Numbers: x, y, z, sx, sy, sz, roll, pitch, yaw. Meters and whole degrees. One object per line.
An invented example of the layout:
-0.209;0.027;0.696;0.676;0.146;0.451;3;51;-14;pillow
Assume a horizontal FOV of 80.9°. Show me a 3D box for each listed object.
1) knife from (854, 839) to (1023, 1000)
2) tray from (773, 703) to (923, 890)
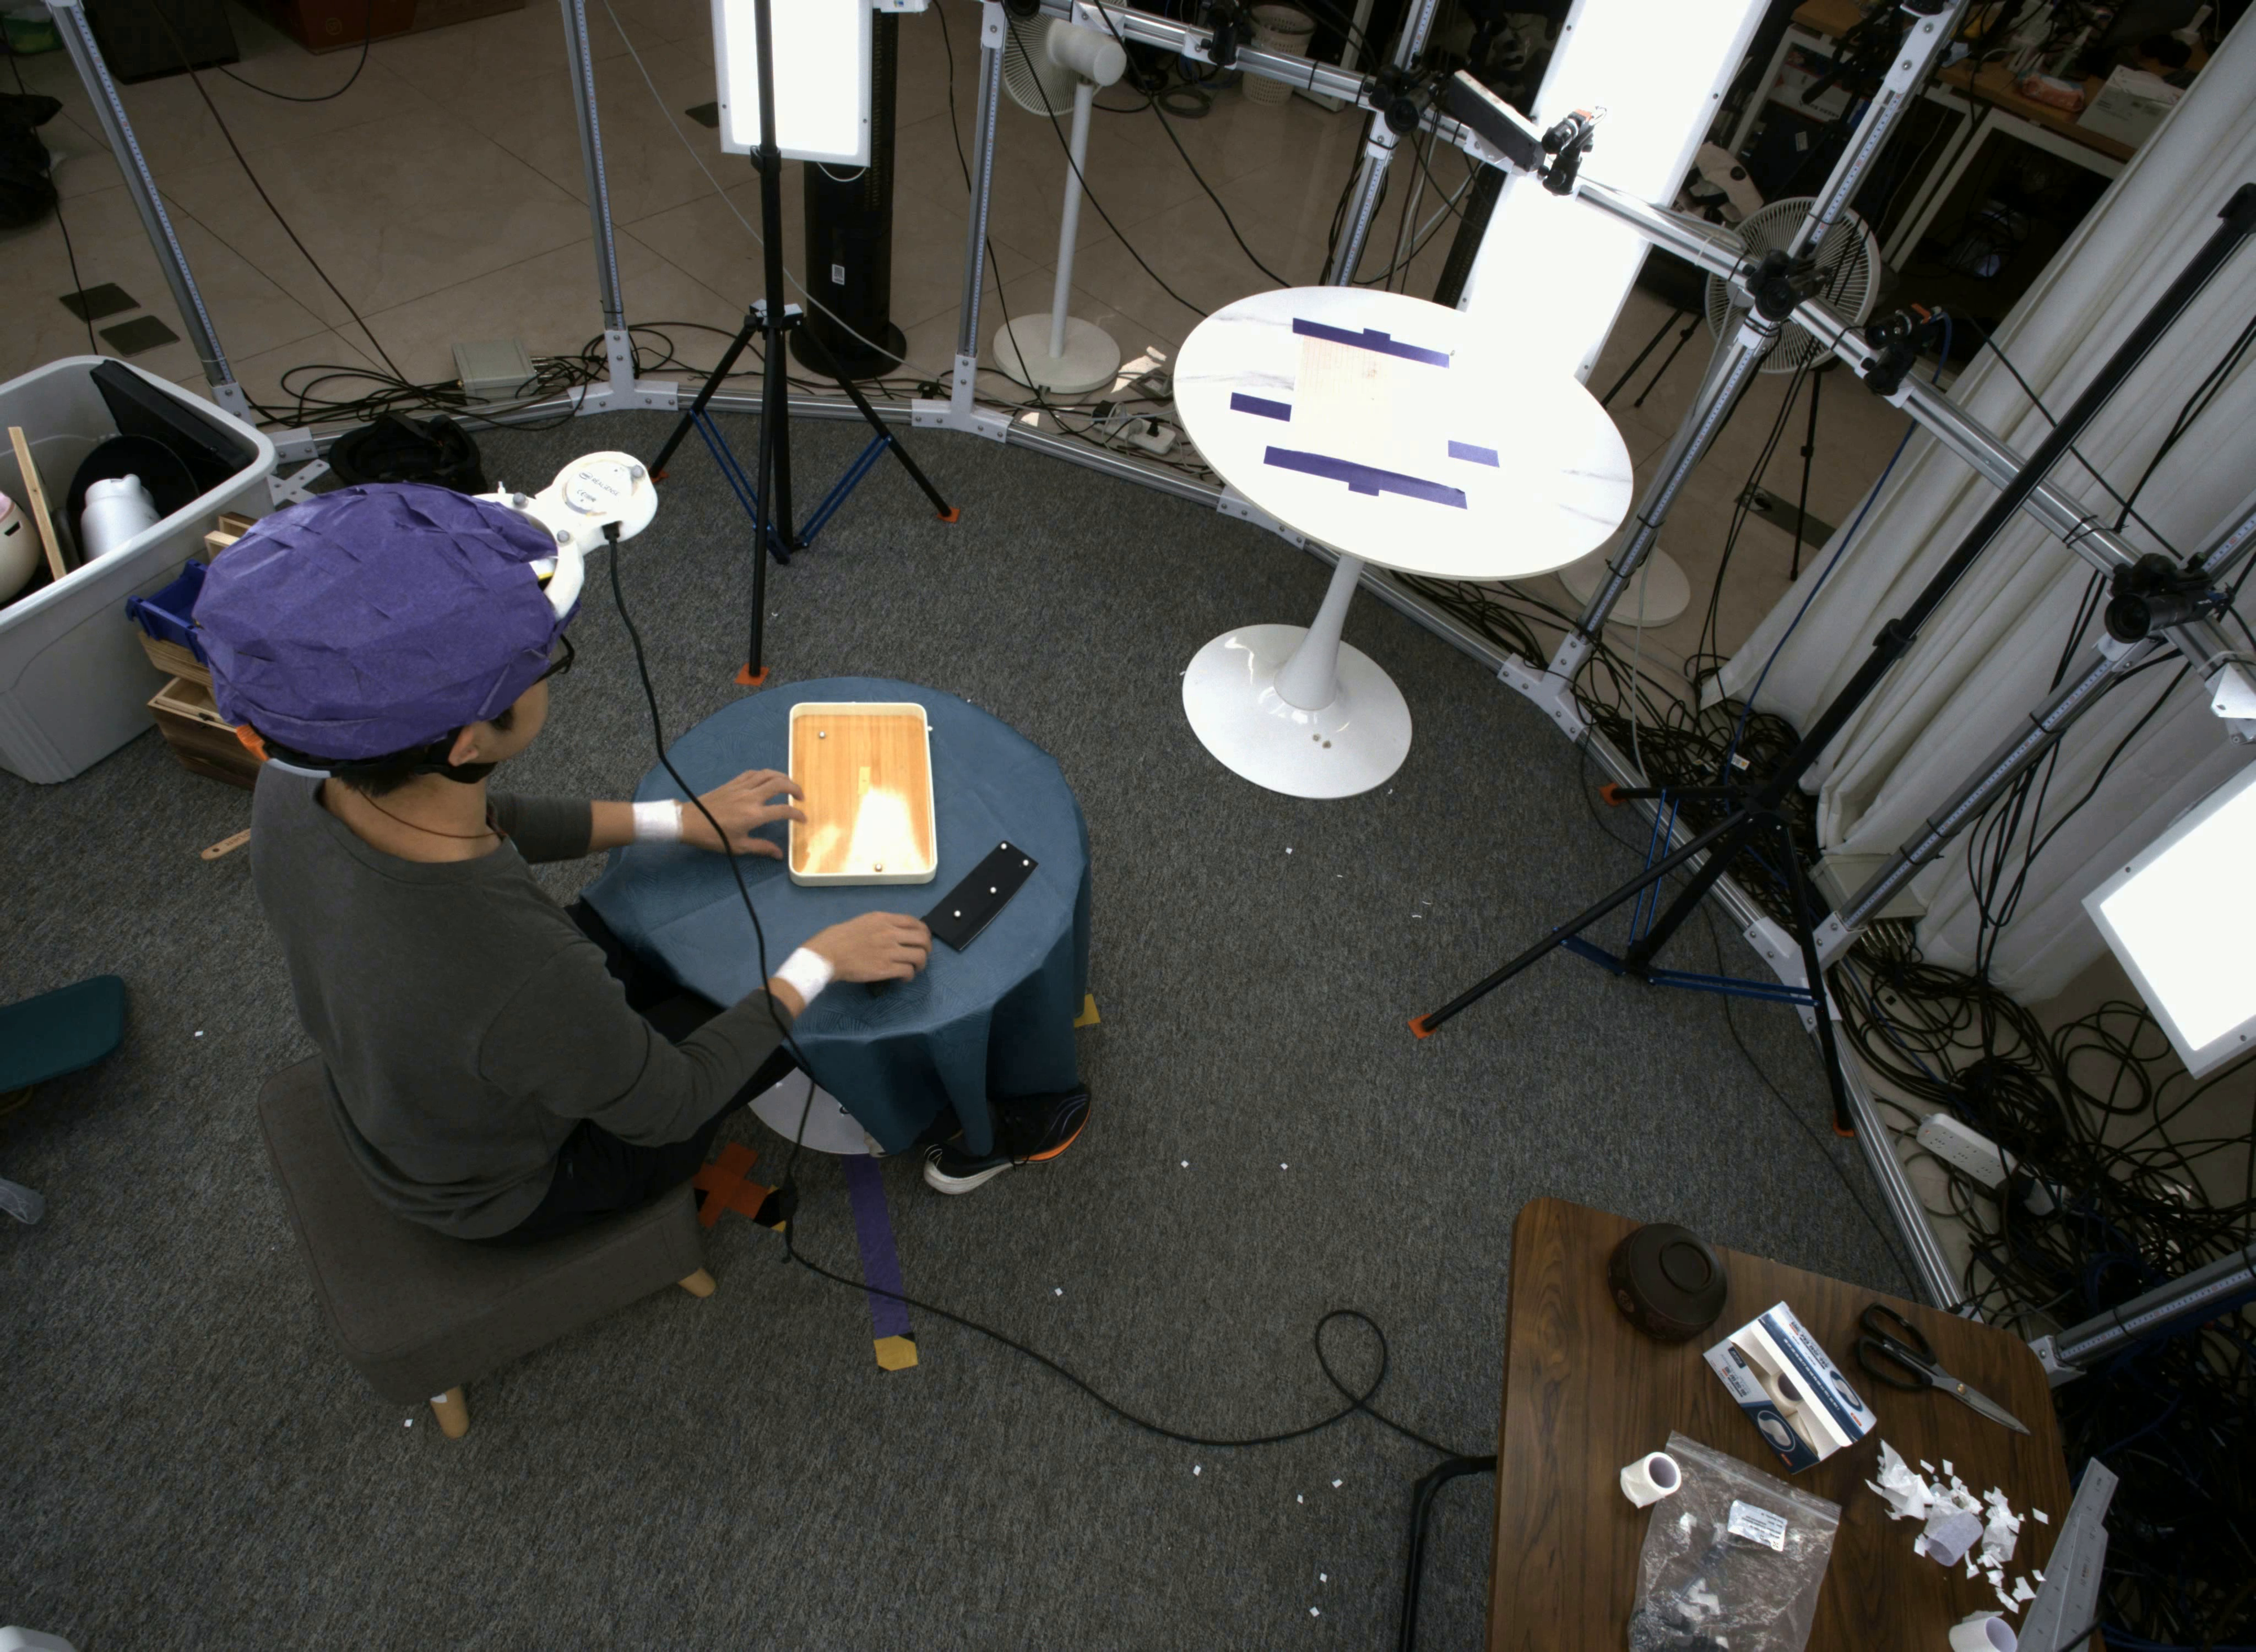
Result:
-0.244;0.119;1.684;0.079;0.021;0.302;37;52;12;knife
-0.384;-0.047;1.763;0.192;0.028;0.294;-1;55;-15;tray
